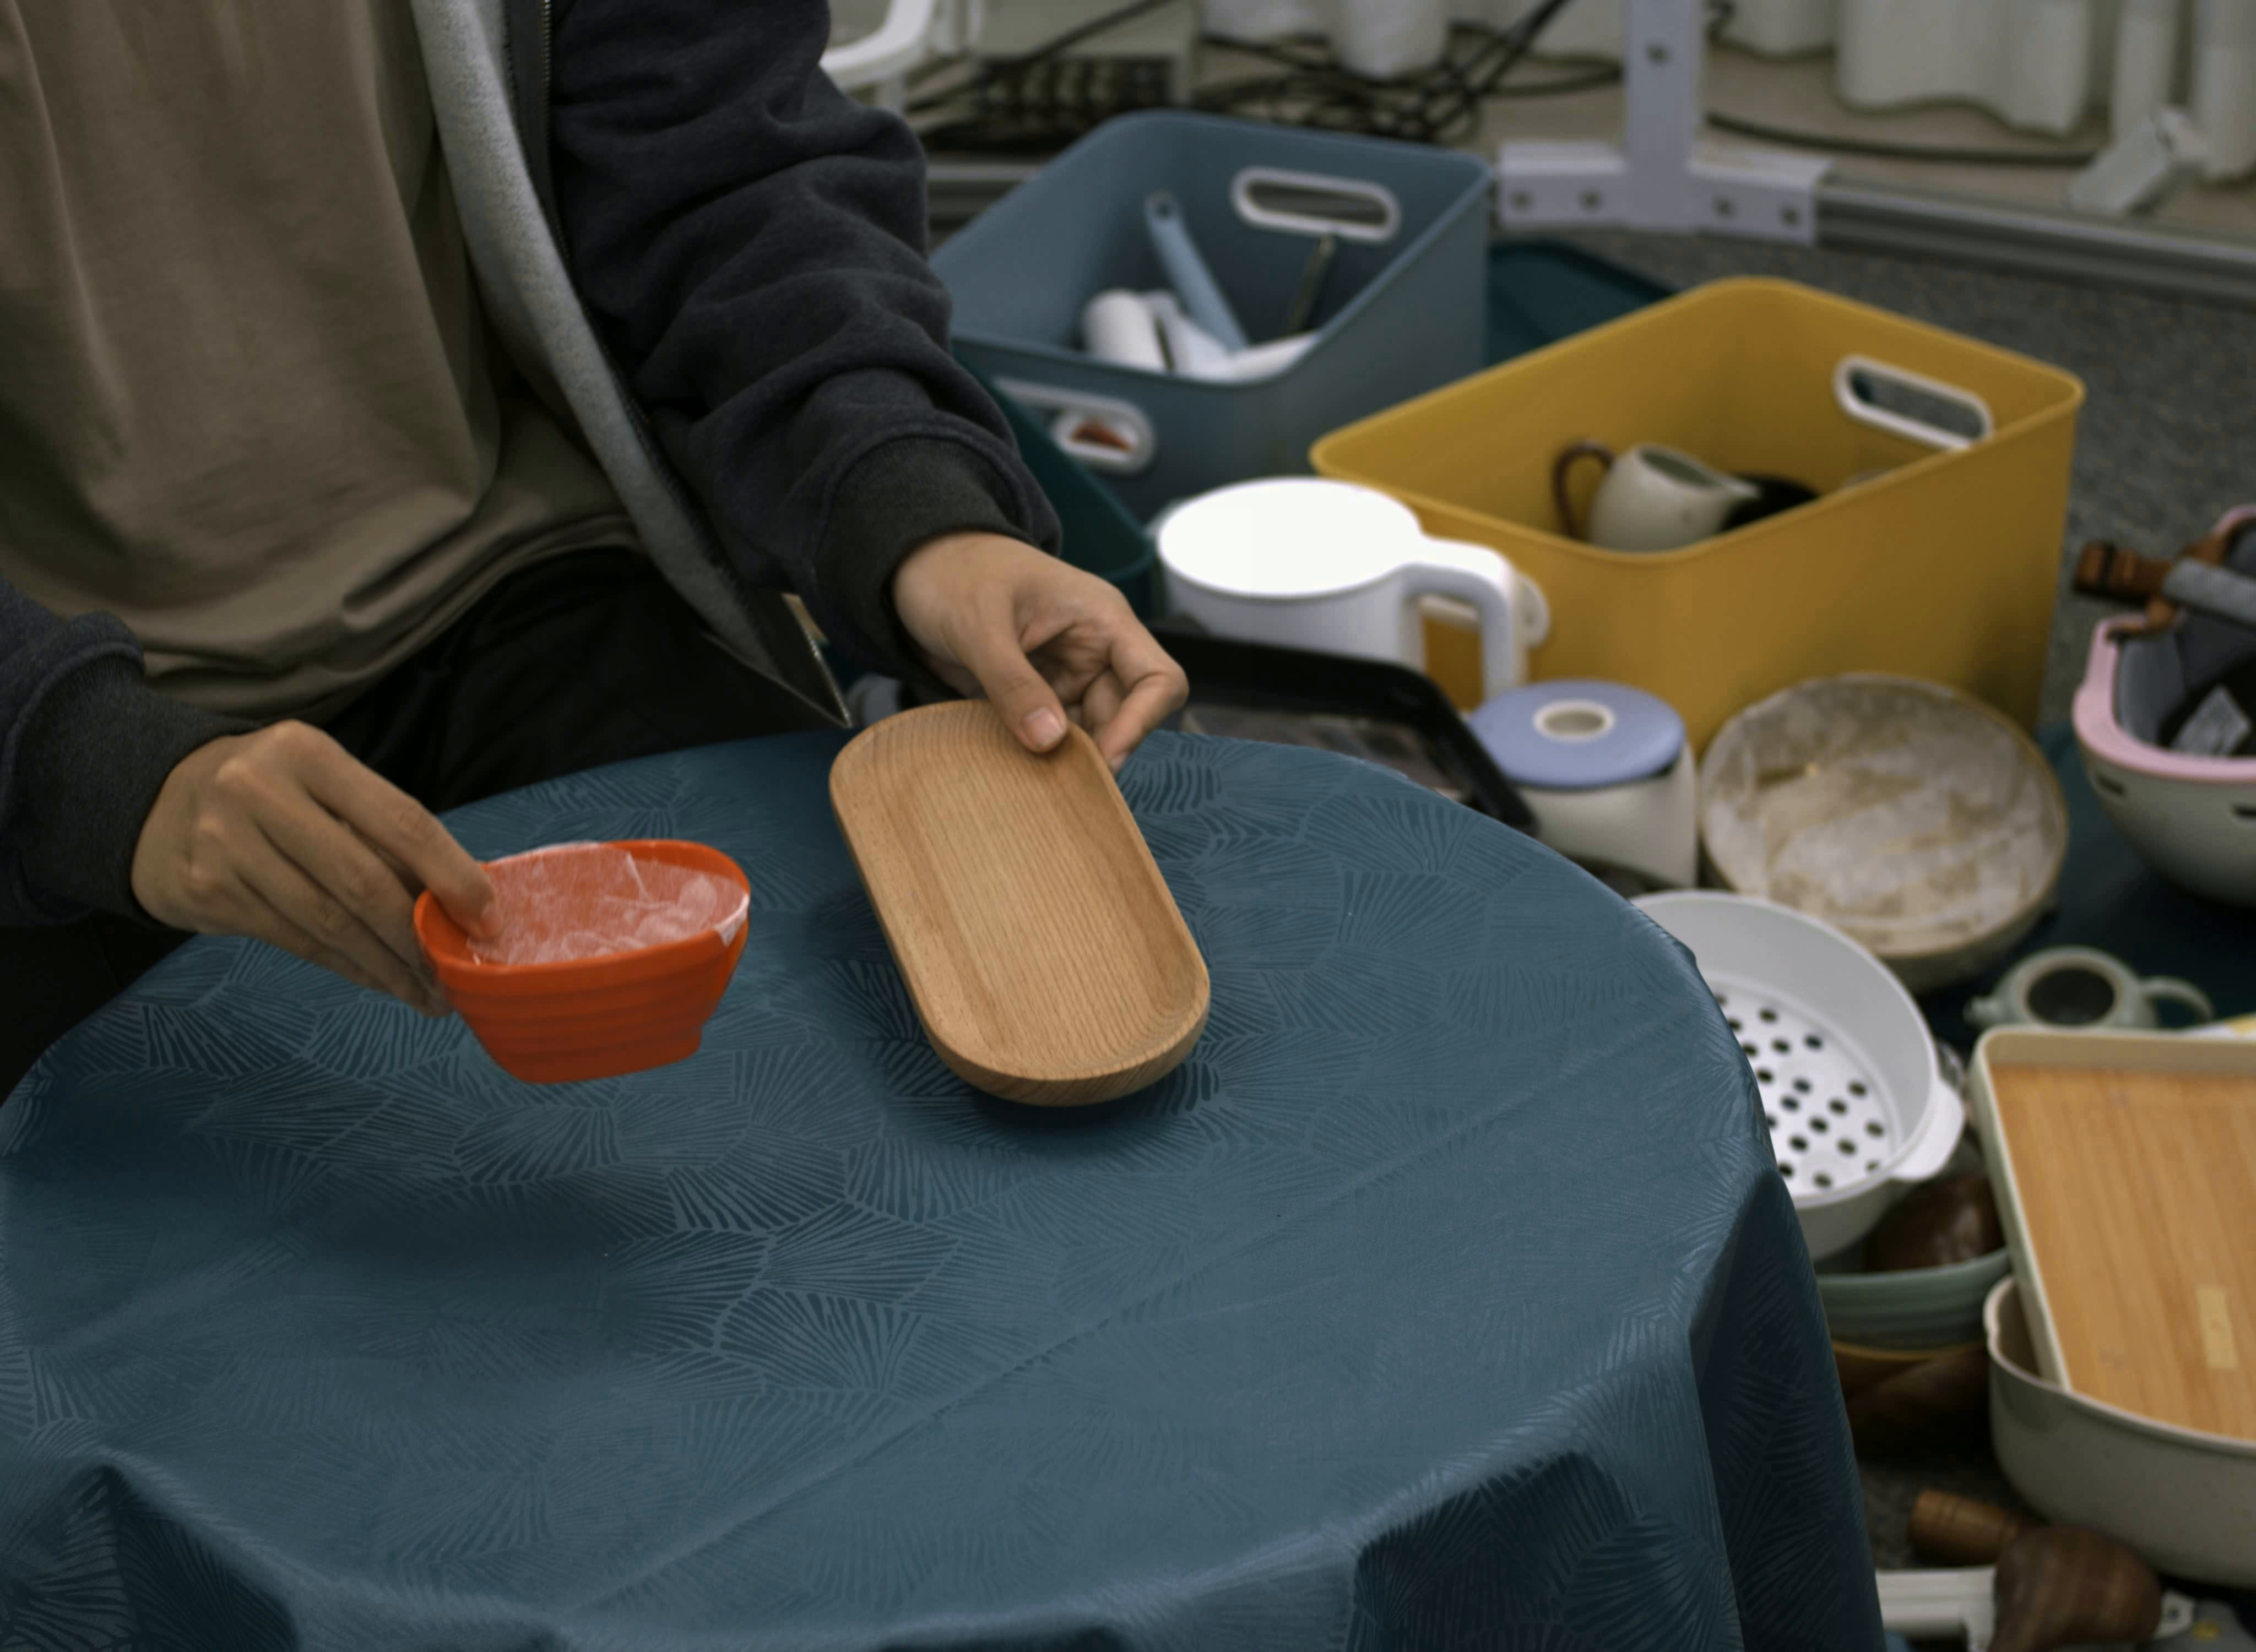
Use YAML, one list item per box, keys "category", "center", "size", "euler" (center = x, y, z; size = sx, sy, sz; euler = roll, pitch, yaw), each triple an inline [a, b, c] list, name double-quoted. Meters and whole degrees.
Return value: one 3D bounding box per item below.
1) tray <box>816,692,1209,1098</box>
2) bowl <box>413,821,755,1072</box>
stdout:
- category: "tray"
  center: [-0.042, 0.022, 1.979]
  size: [0.102, 0.020, 0.234]
  euler: [-11, 35, -14]
- category: "bowl"
  center: [-0.175, 0.042, 1.833]
  size: [0.118, 0.051, 0.120]
  euler: [-5, 20, 2]
